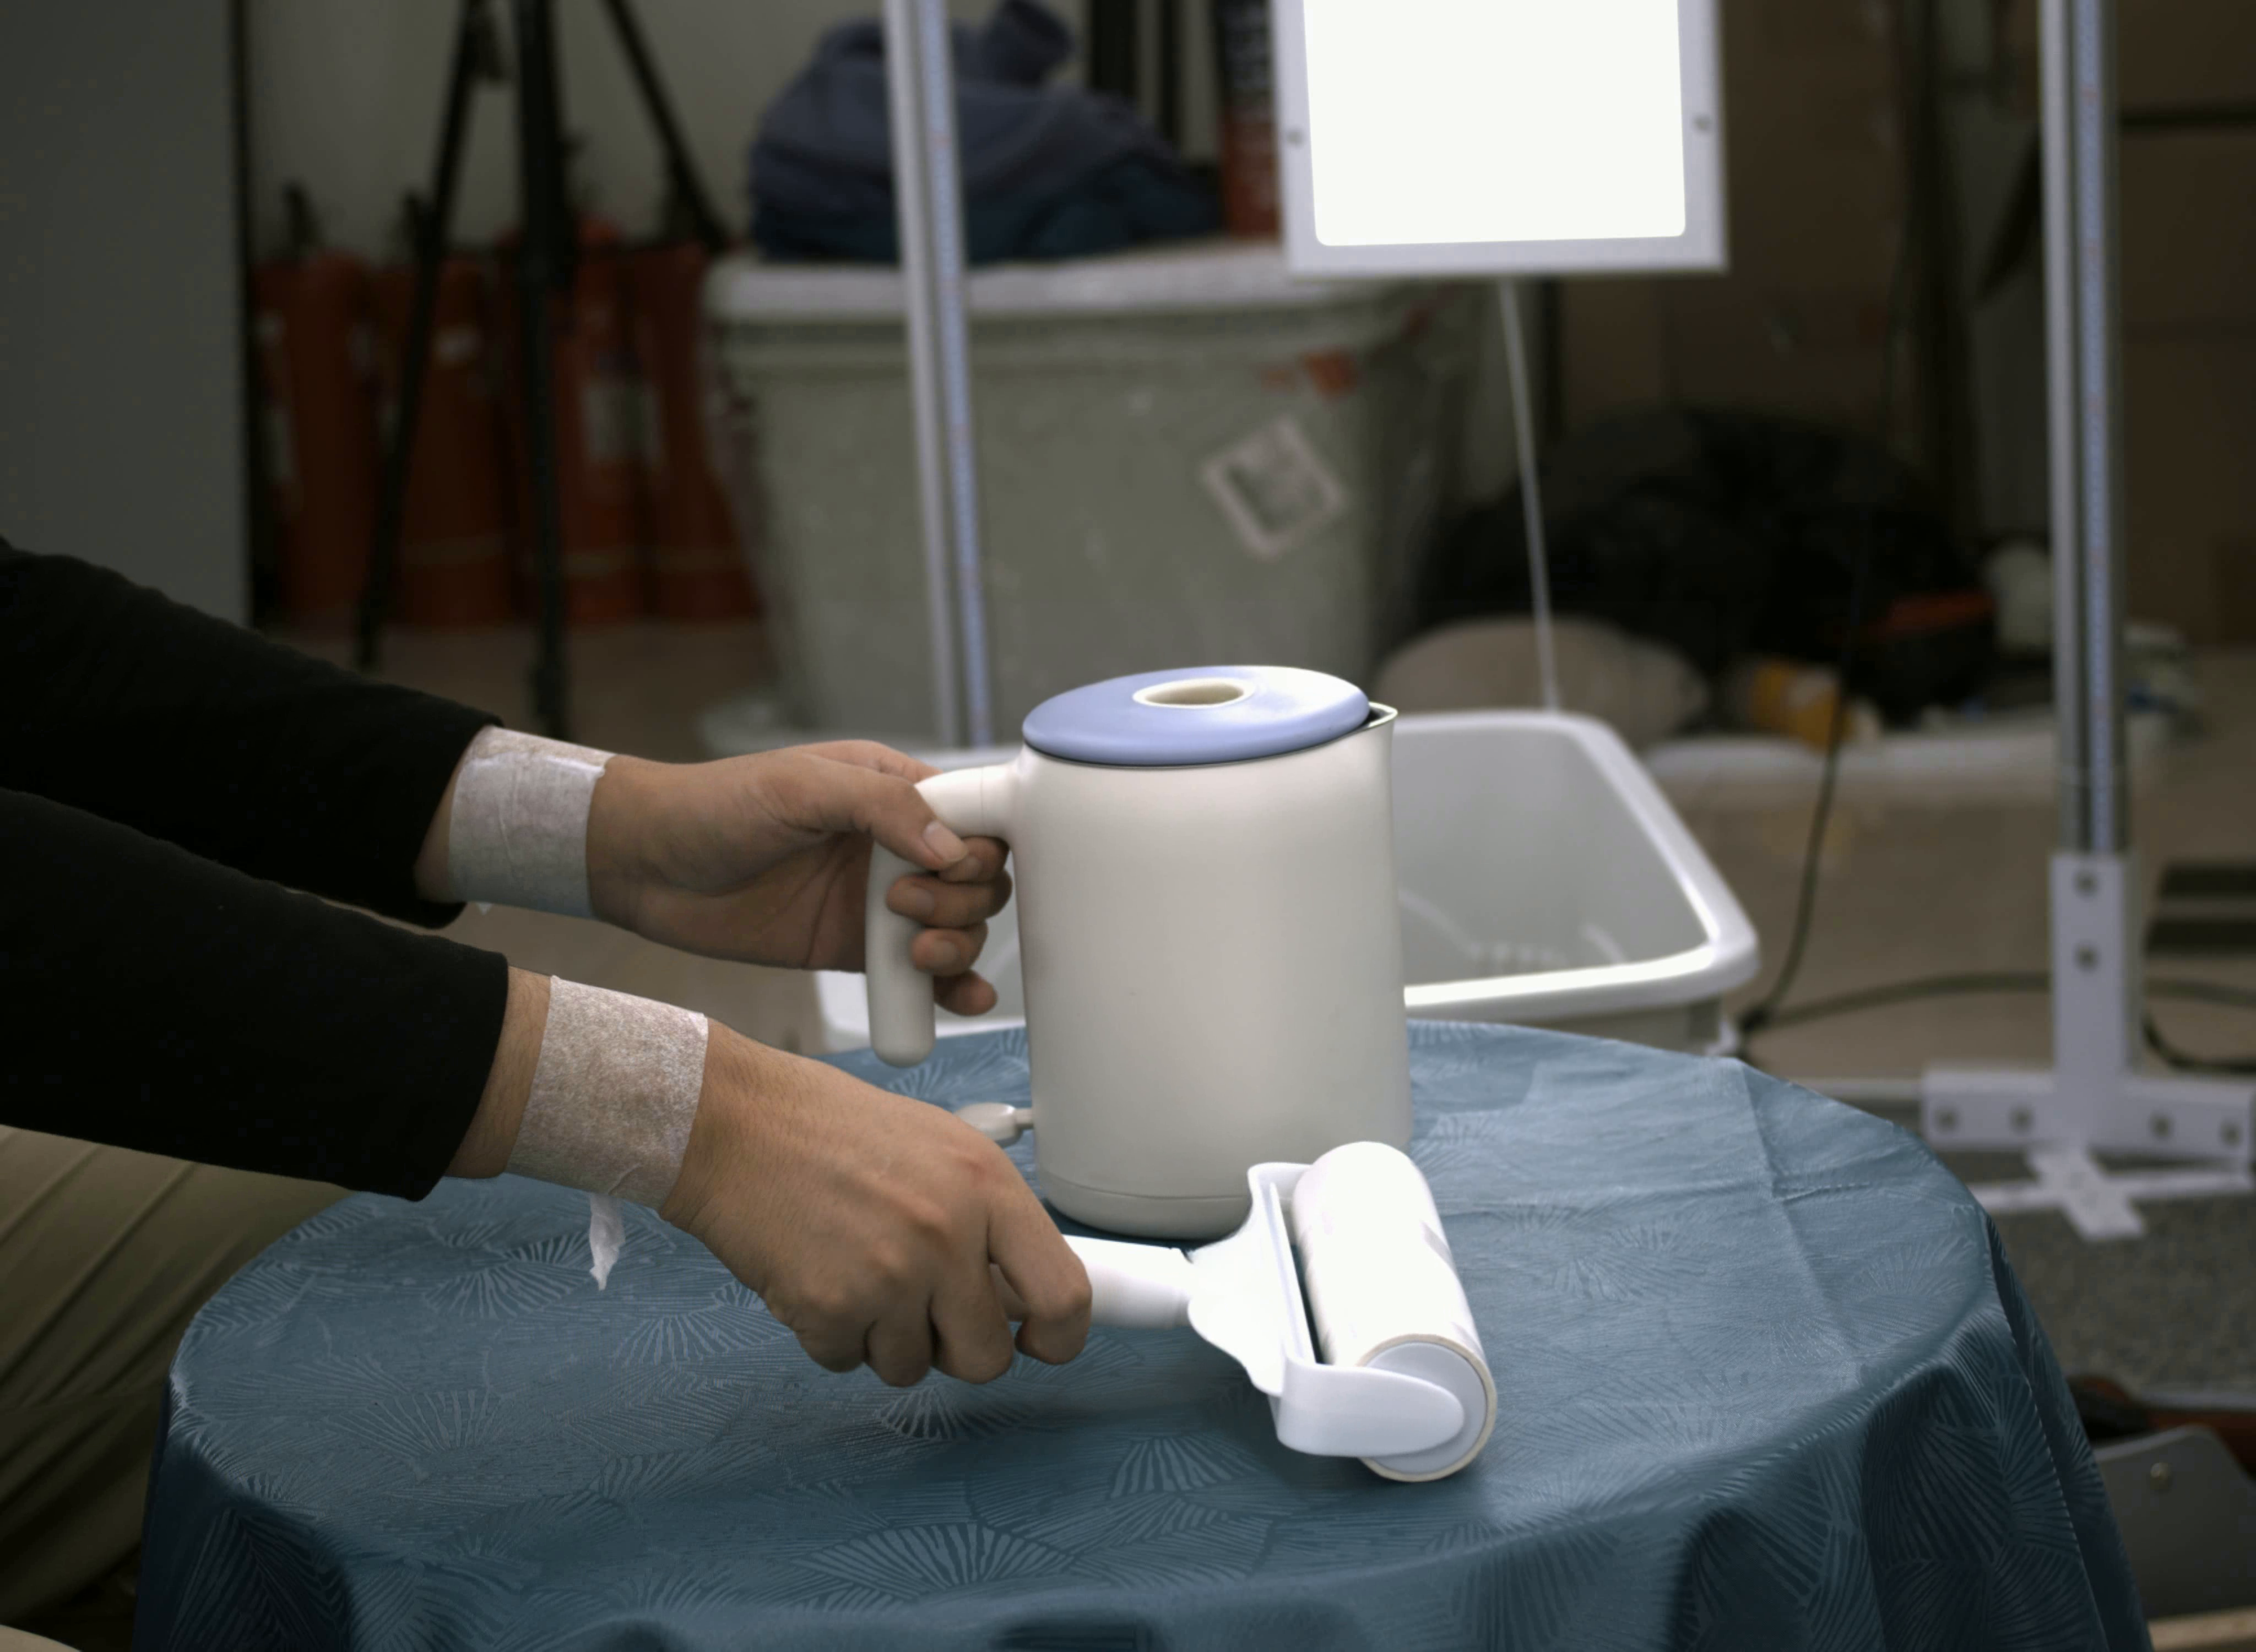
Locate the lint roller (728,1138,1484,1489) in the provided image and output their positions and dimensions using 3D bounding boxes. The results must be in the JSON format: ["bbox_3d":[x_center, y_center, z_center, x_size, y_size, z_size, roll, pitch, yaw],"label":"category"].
[{"bbox_3d":[-0.009,0.137,1.685,0.224,0.048,0.202,6,14,-3],"label":"lint roller"}]

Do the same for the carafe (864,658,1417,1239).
[{"bbox_3d":[0.004,0.043,1.875,0.191,0.183,0.131,-6,13,4],"label":"carafe"}]
